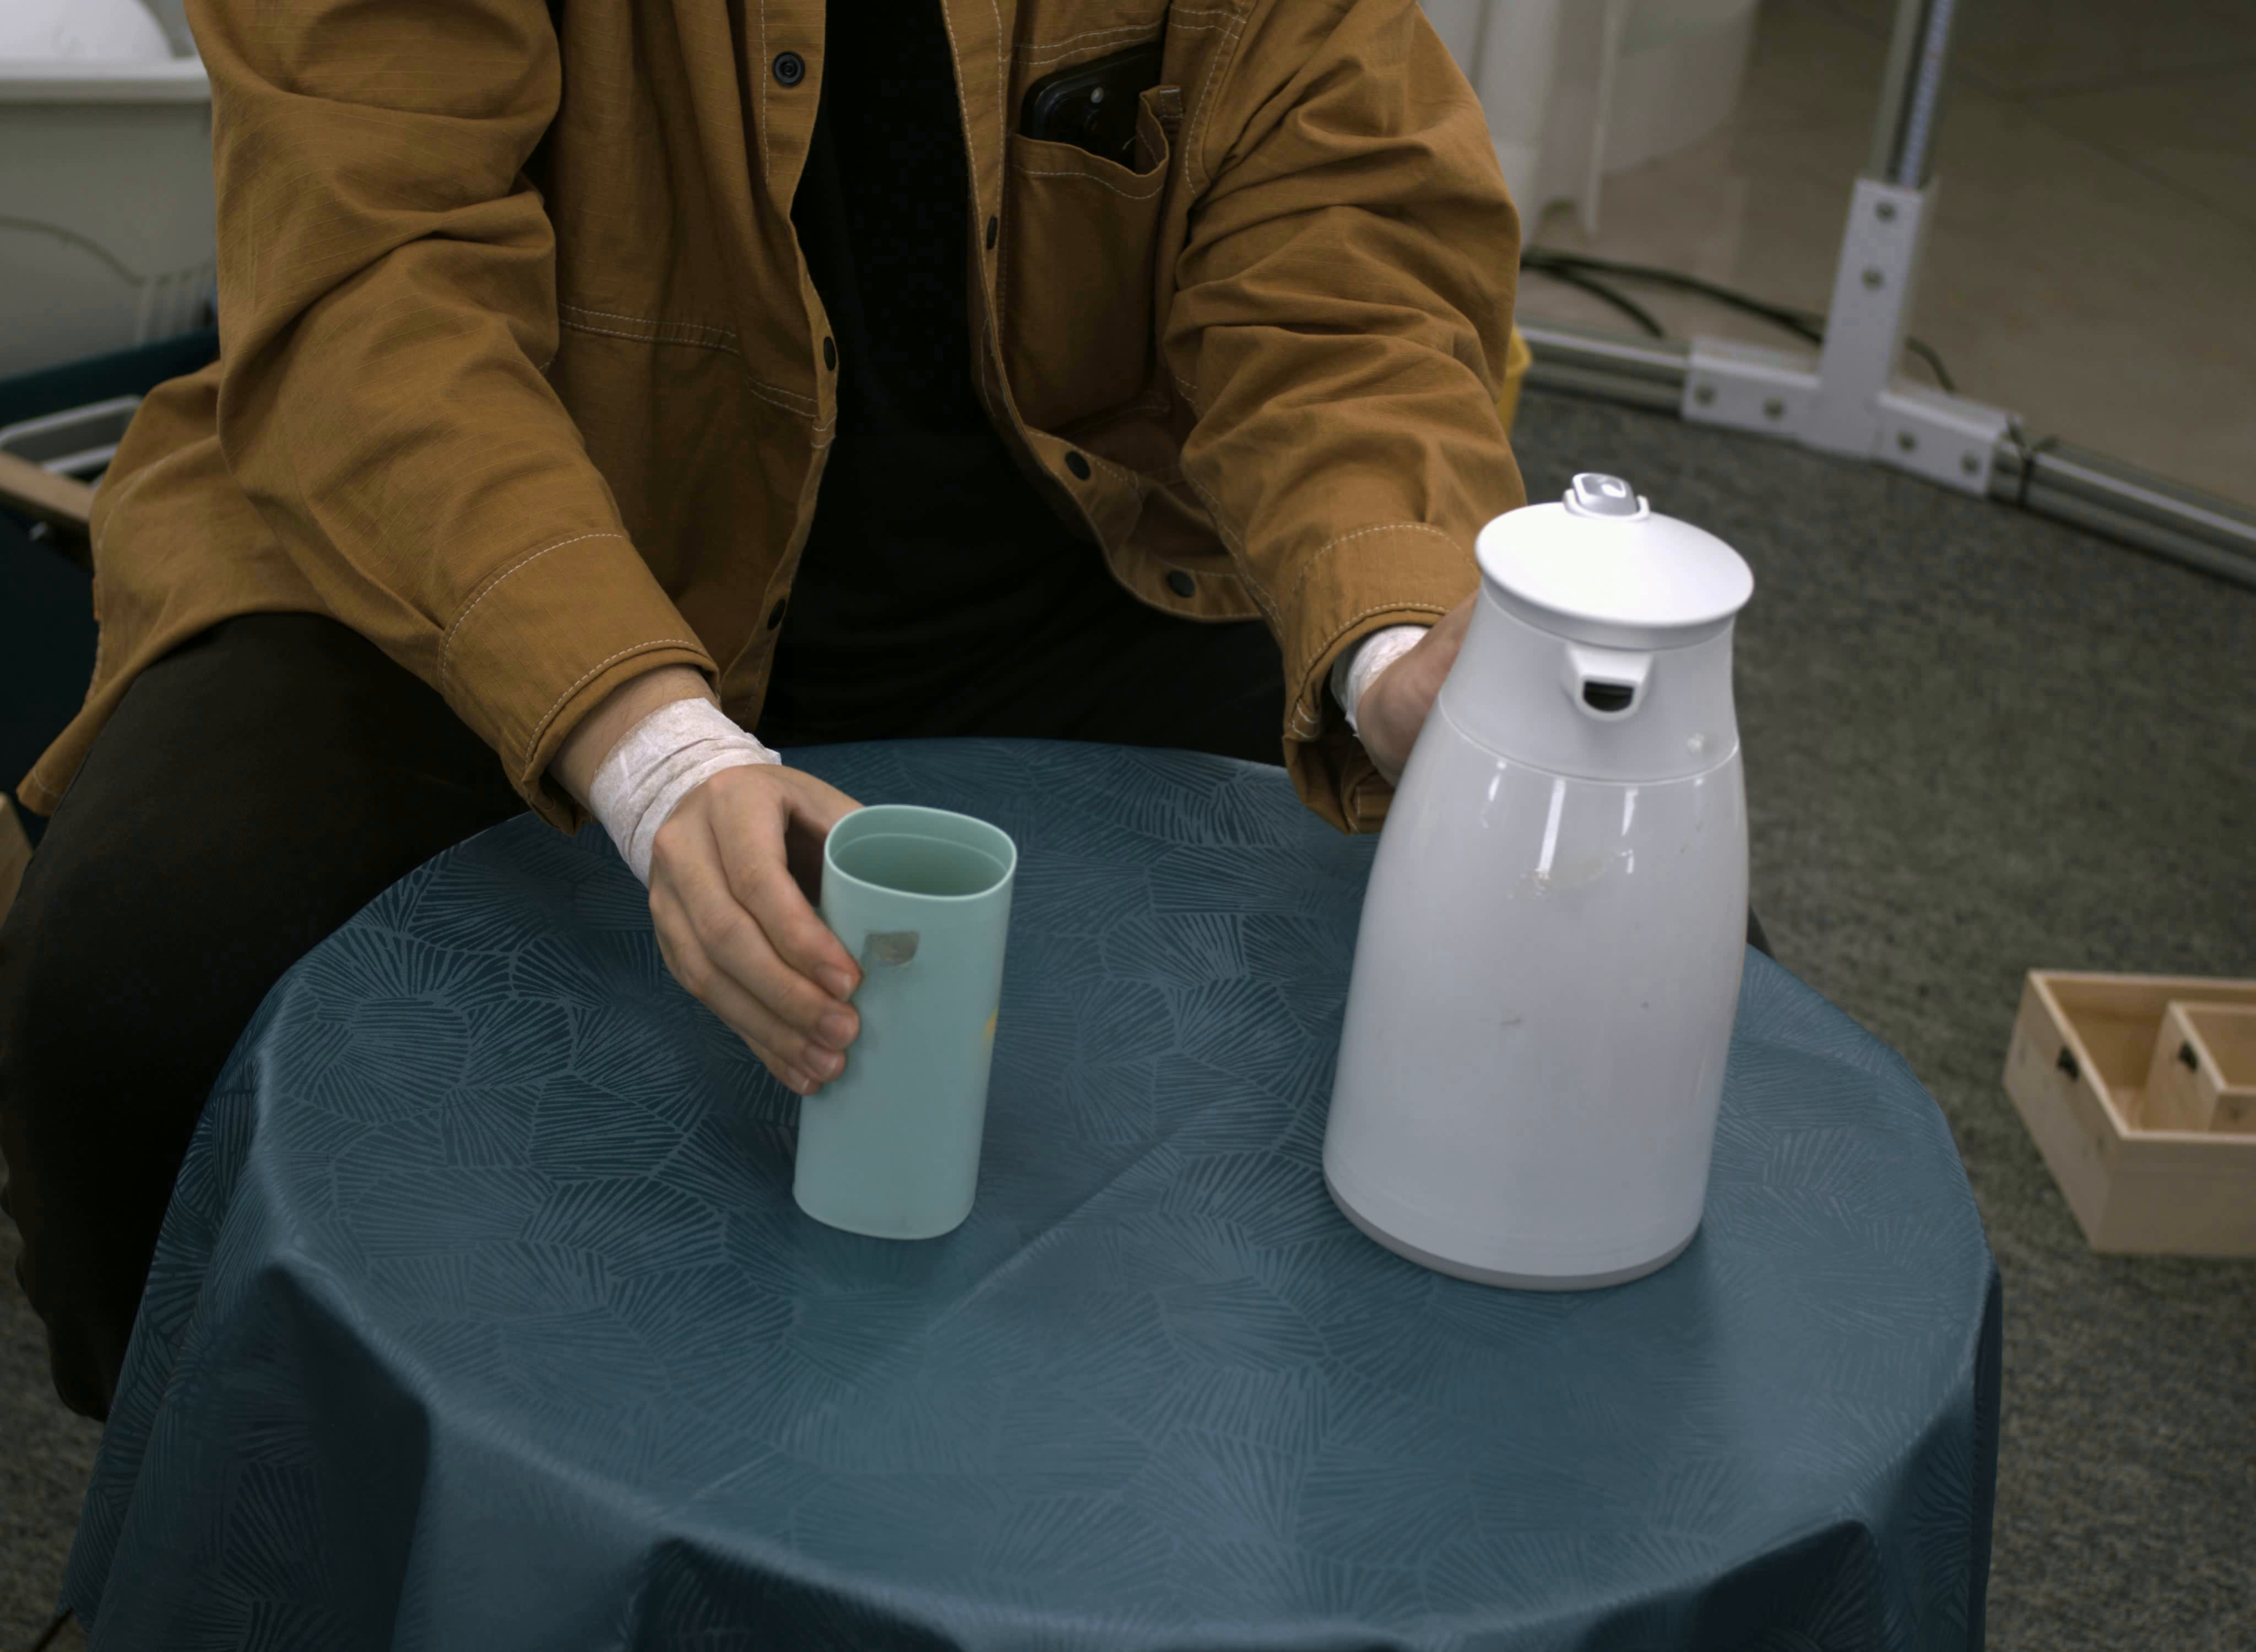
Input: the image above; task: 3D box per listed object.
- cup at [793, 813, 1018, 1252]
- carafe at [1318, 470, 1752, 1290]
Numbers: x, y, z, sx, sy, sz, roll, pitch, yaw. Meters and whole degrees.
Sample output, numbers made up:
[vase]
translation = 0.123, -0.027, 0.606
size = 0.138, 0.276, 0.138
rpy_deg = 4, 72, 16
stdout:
[cup]
translation = -0.076, 0.068, 1.762
size = 0.066, 0.132, 0.067
rpy_deg = 5, 26, -3
[carafe]
translation = 0.144, 0.007, 1.794
size = 0.132, 0.248, 0.168
rpy_deg = 7, 26, 0
